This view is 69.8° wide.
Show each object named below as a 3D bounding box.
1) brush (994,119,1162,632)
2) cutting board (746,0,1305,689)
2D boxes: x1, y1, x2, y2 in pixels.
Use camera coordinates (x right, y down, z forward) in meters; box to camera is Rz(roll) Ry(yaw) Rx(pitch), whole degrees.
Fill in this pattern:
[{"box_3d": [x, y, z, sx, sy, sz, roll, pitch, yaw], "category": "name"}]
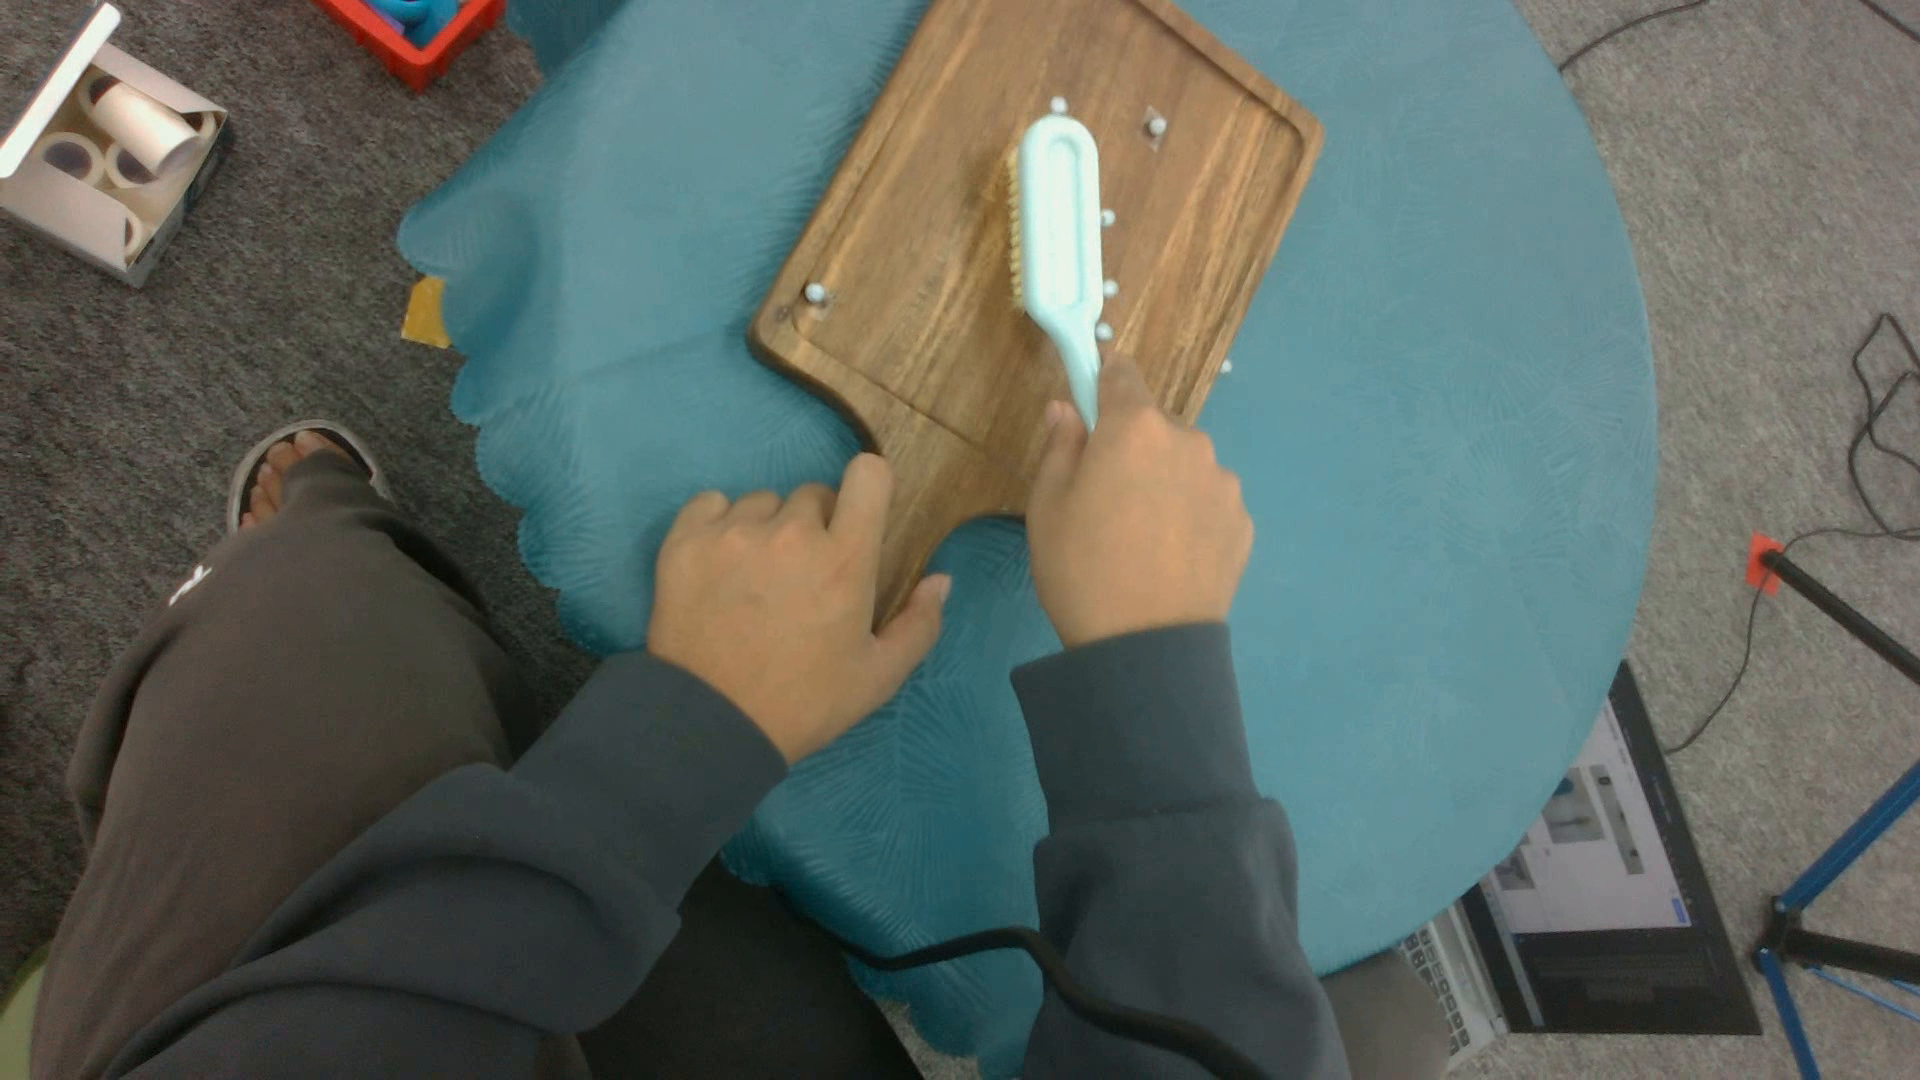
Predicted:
[{"box_3d": [0.051, -0.070, 0.587, 0.038, 0.049, 0.229, -6, 73, -22], "category": "brush"}, {"box_3d": [0.021, -0.096, 0.622, 0.201, 0.023, 0.353, 29, 75, -16], "category": "cutting board"}]
